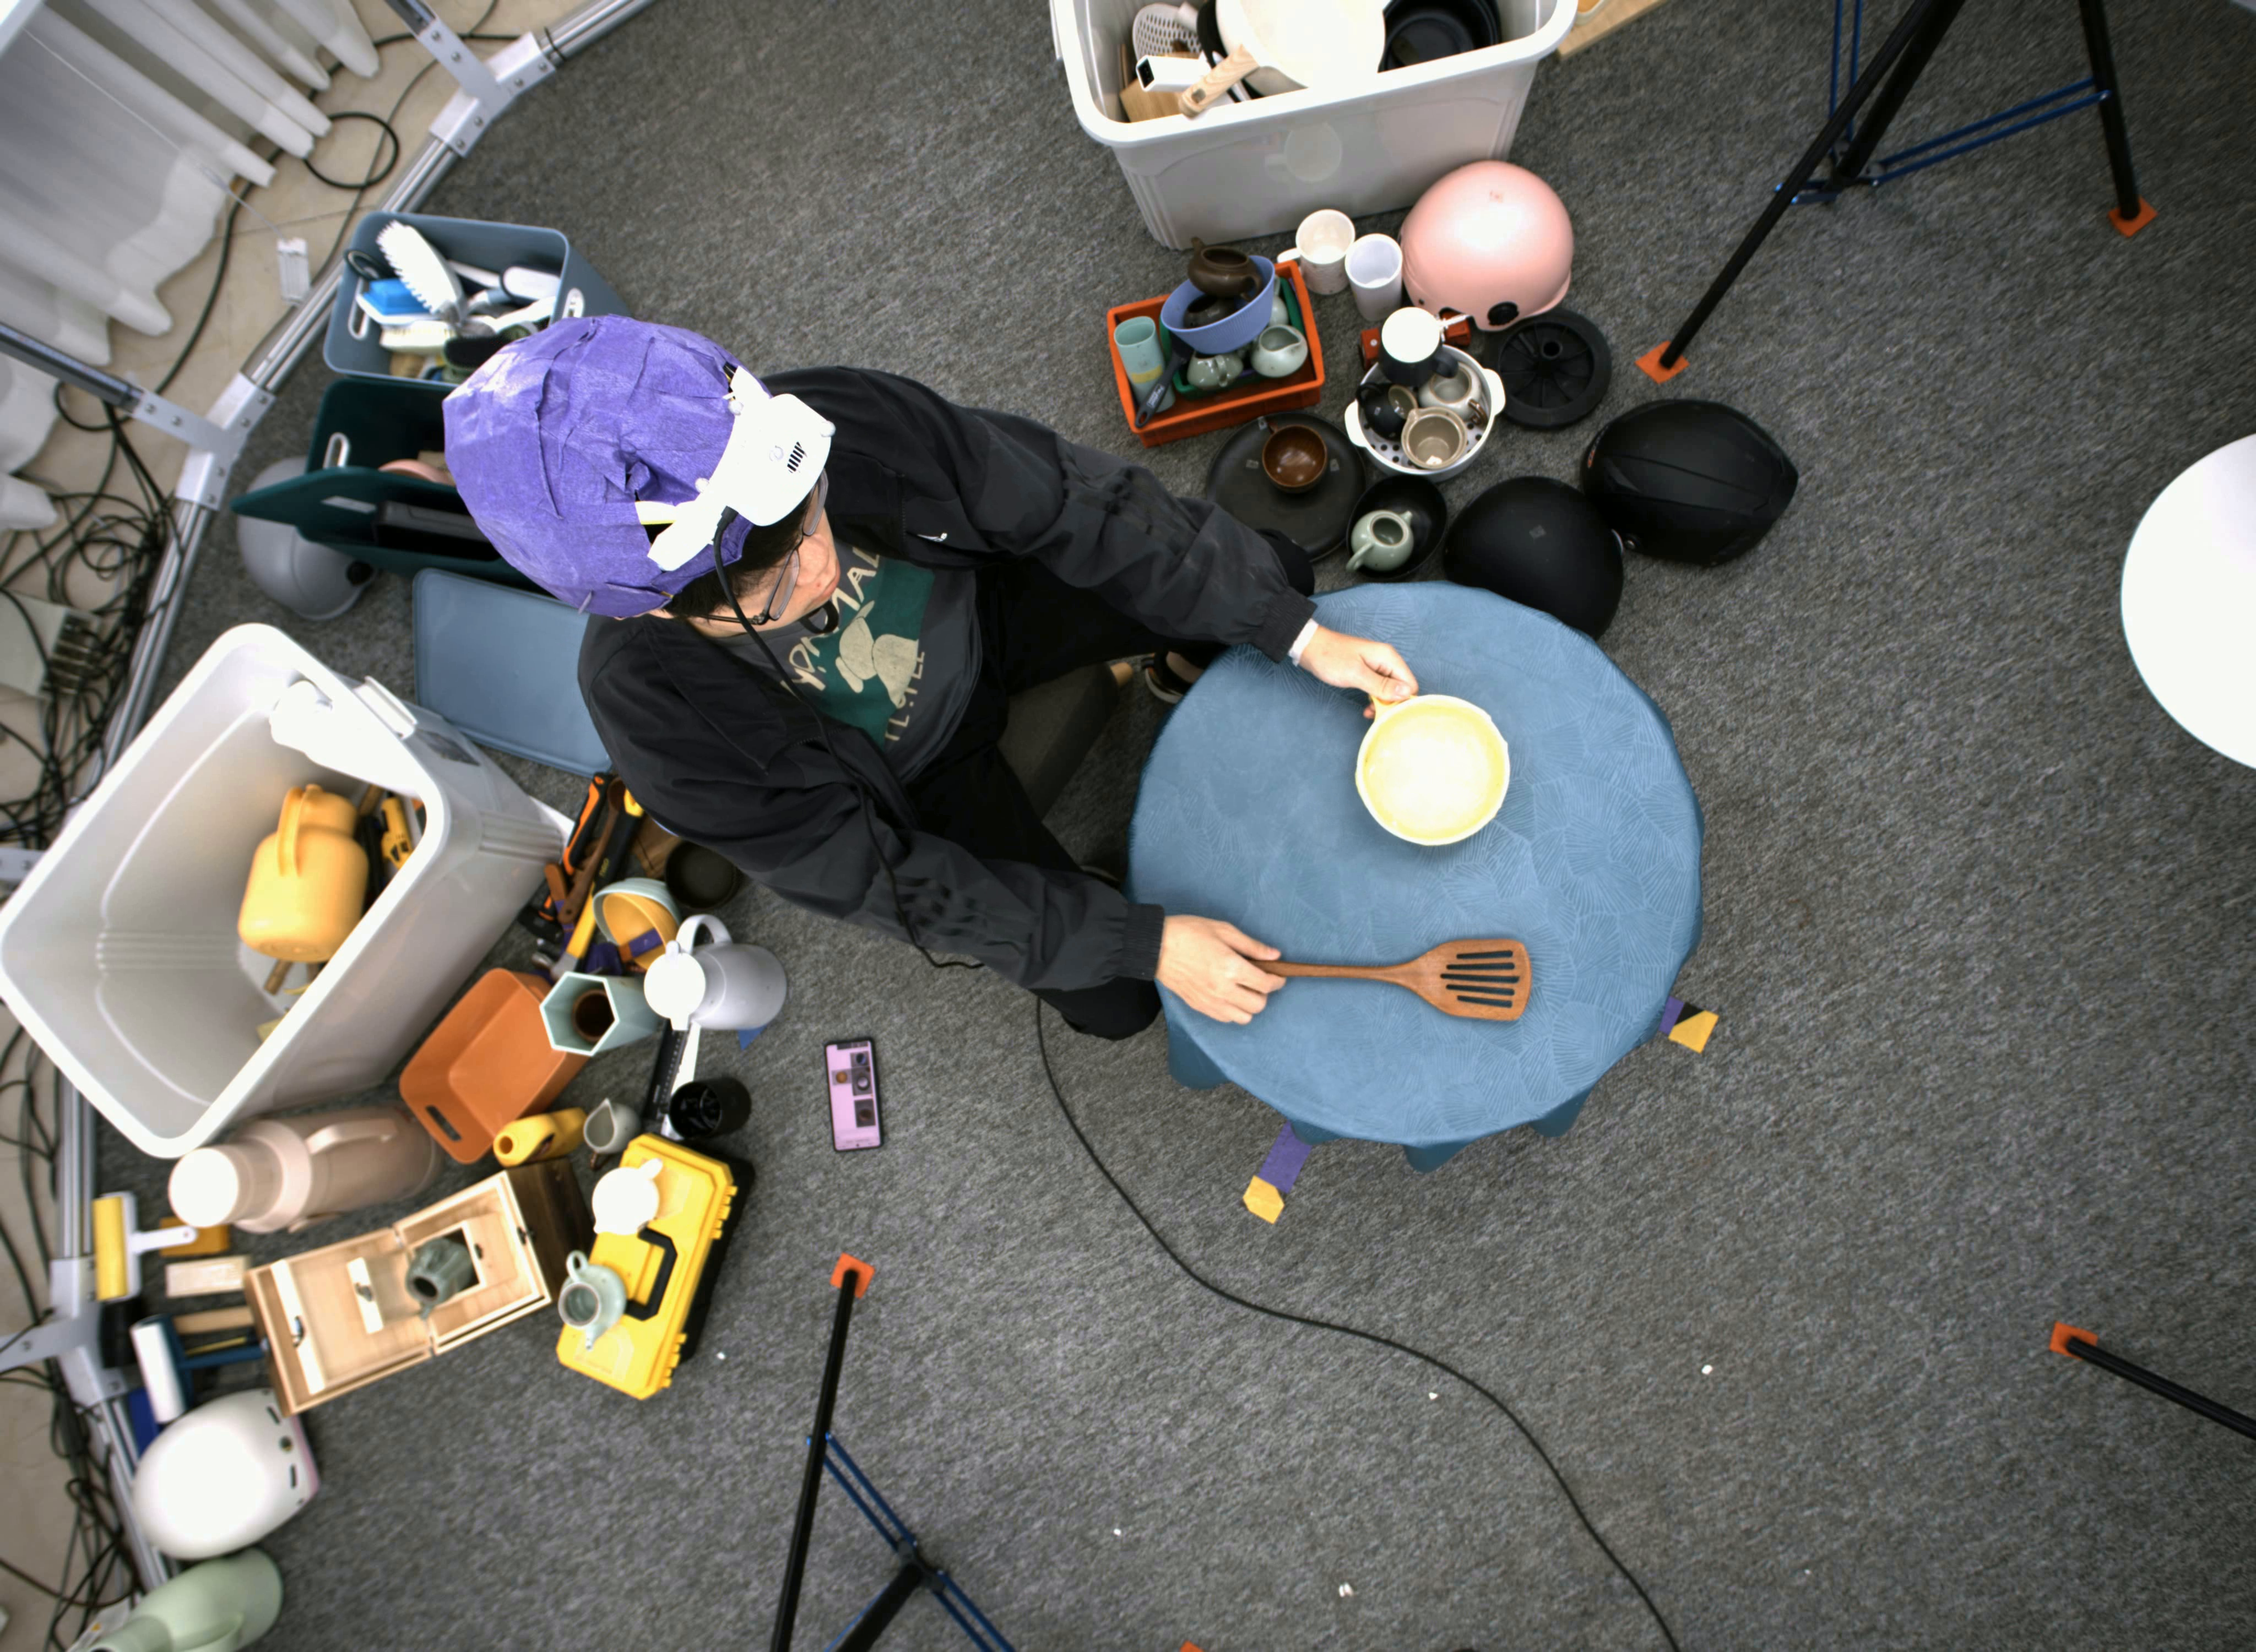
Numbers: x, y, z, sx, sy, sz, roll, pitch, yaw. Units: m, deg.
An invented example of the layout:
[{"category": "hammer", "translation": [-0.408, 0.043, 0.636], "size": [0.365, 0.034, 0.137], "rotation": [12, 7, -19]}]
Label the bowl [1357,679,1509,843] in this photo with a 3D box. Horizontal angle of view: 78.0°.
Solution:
[{"category": "bowl", "translation": [0.306, -0.071, 1.421], "size": [0.154, 0.074, 0.179], "rotation": [-36, 86, 8]}]

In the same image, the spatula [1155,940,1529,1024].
[{"category": "spatula", "translation": [0.220, 0.147, 1.445], "size": [0.388, 0.024, 0.085], "rotation": [4, 84, 10]}]
